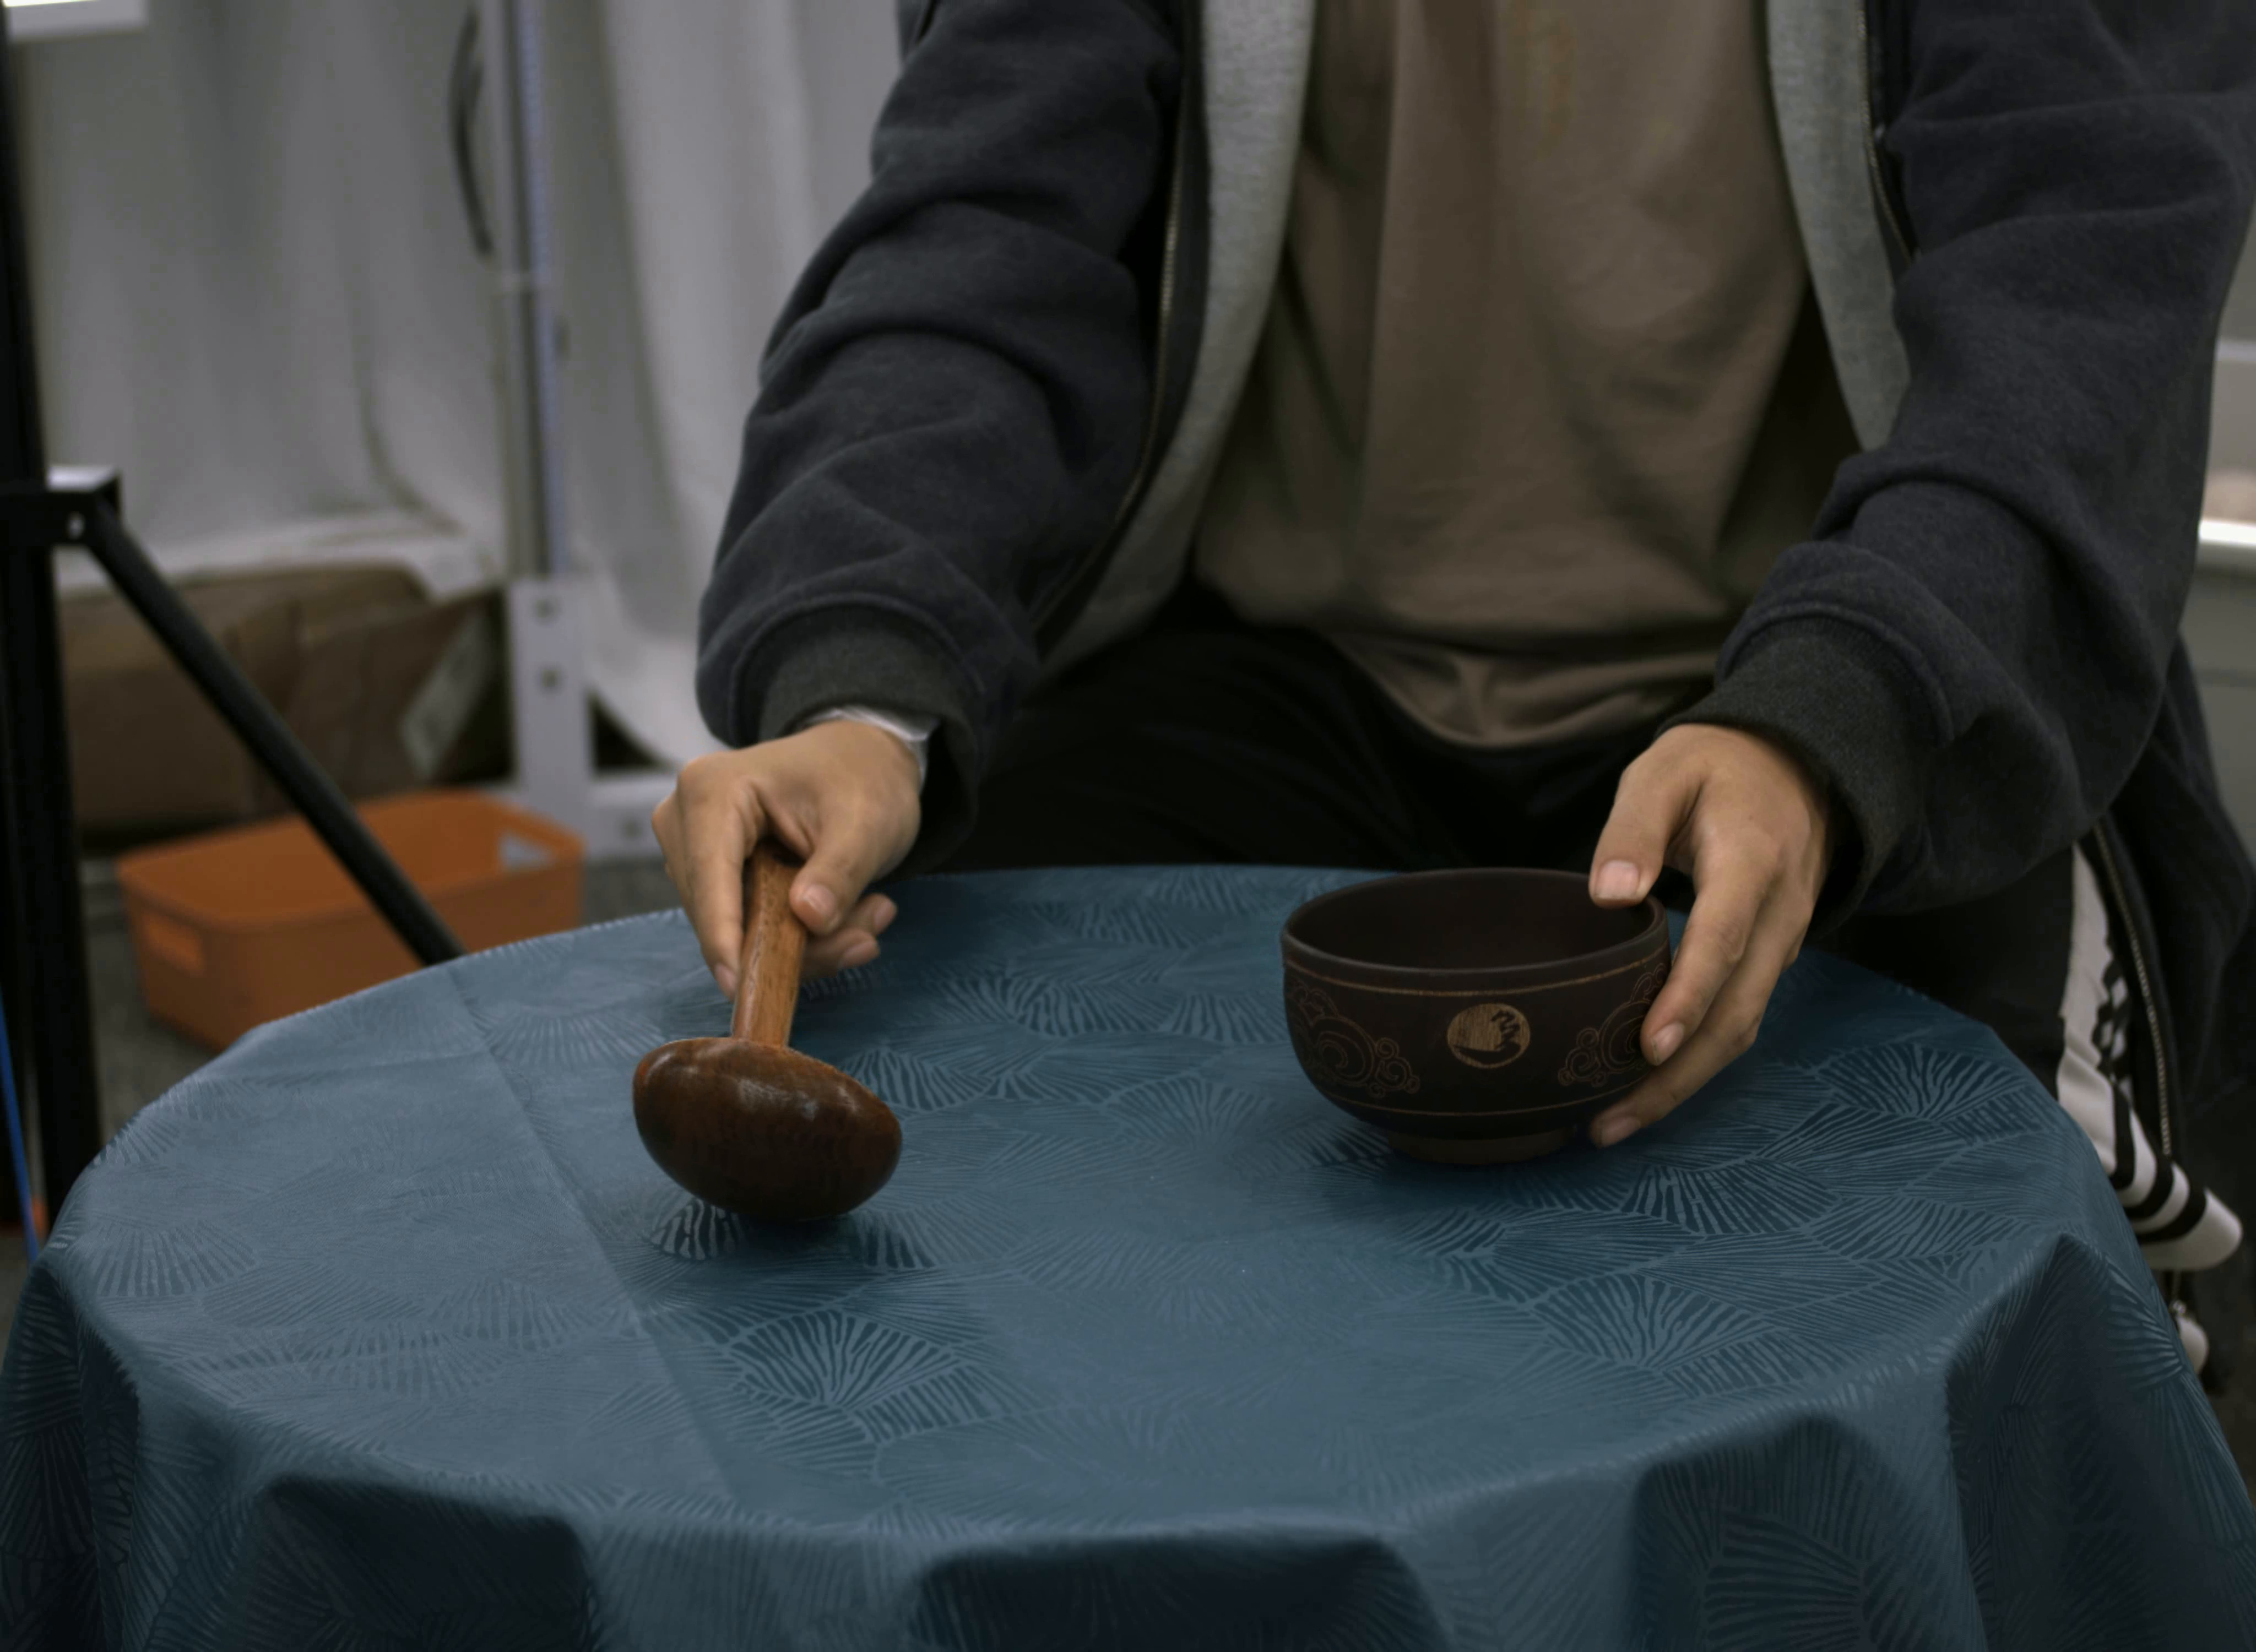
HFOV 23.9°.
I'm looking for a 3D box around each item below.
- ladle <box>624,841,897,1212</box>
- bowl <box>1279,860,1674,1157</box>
[{"bbox_3d":[-0.103,0.040,1.630,0.081,0.077,0.275,23,24,-7],"label":"ladle"},{"bbox_3d":[0.105,0.058,1.580,0.117,0.070,0.118,-4,14,0],"label":"bowl"}]
